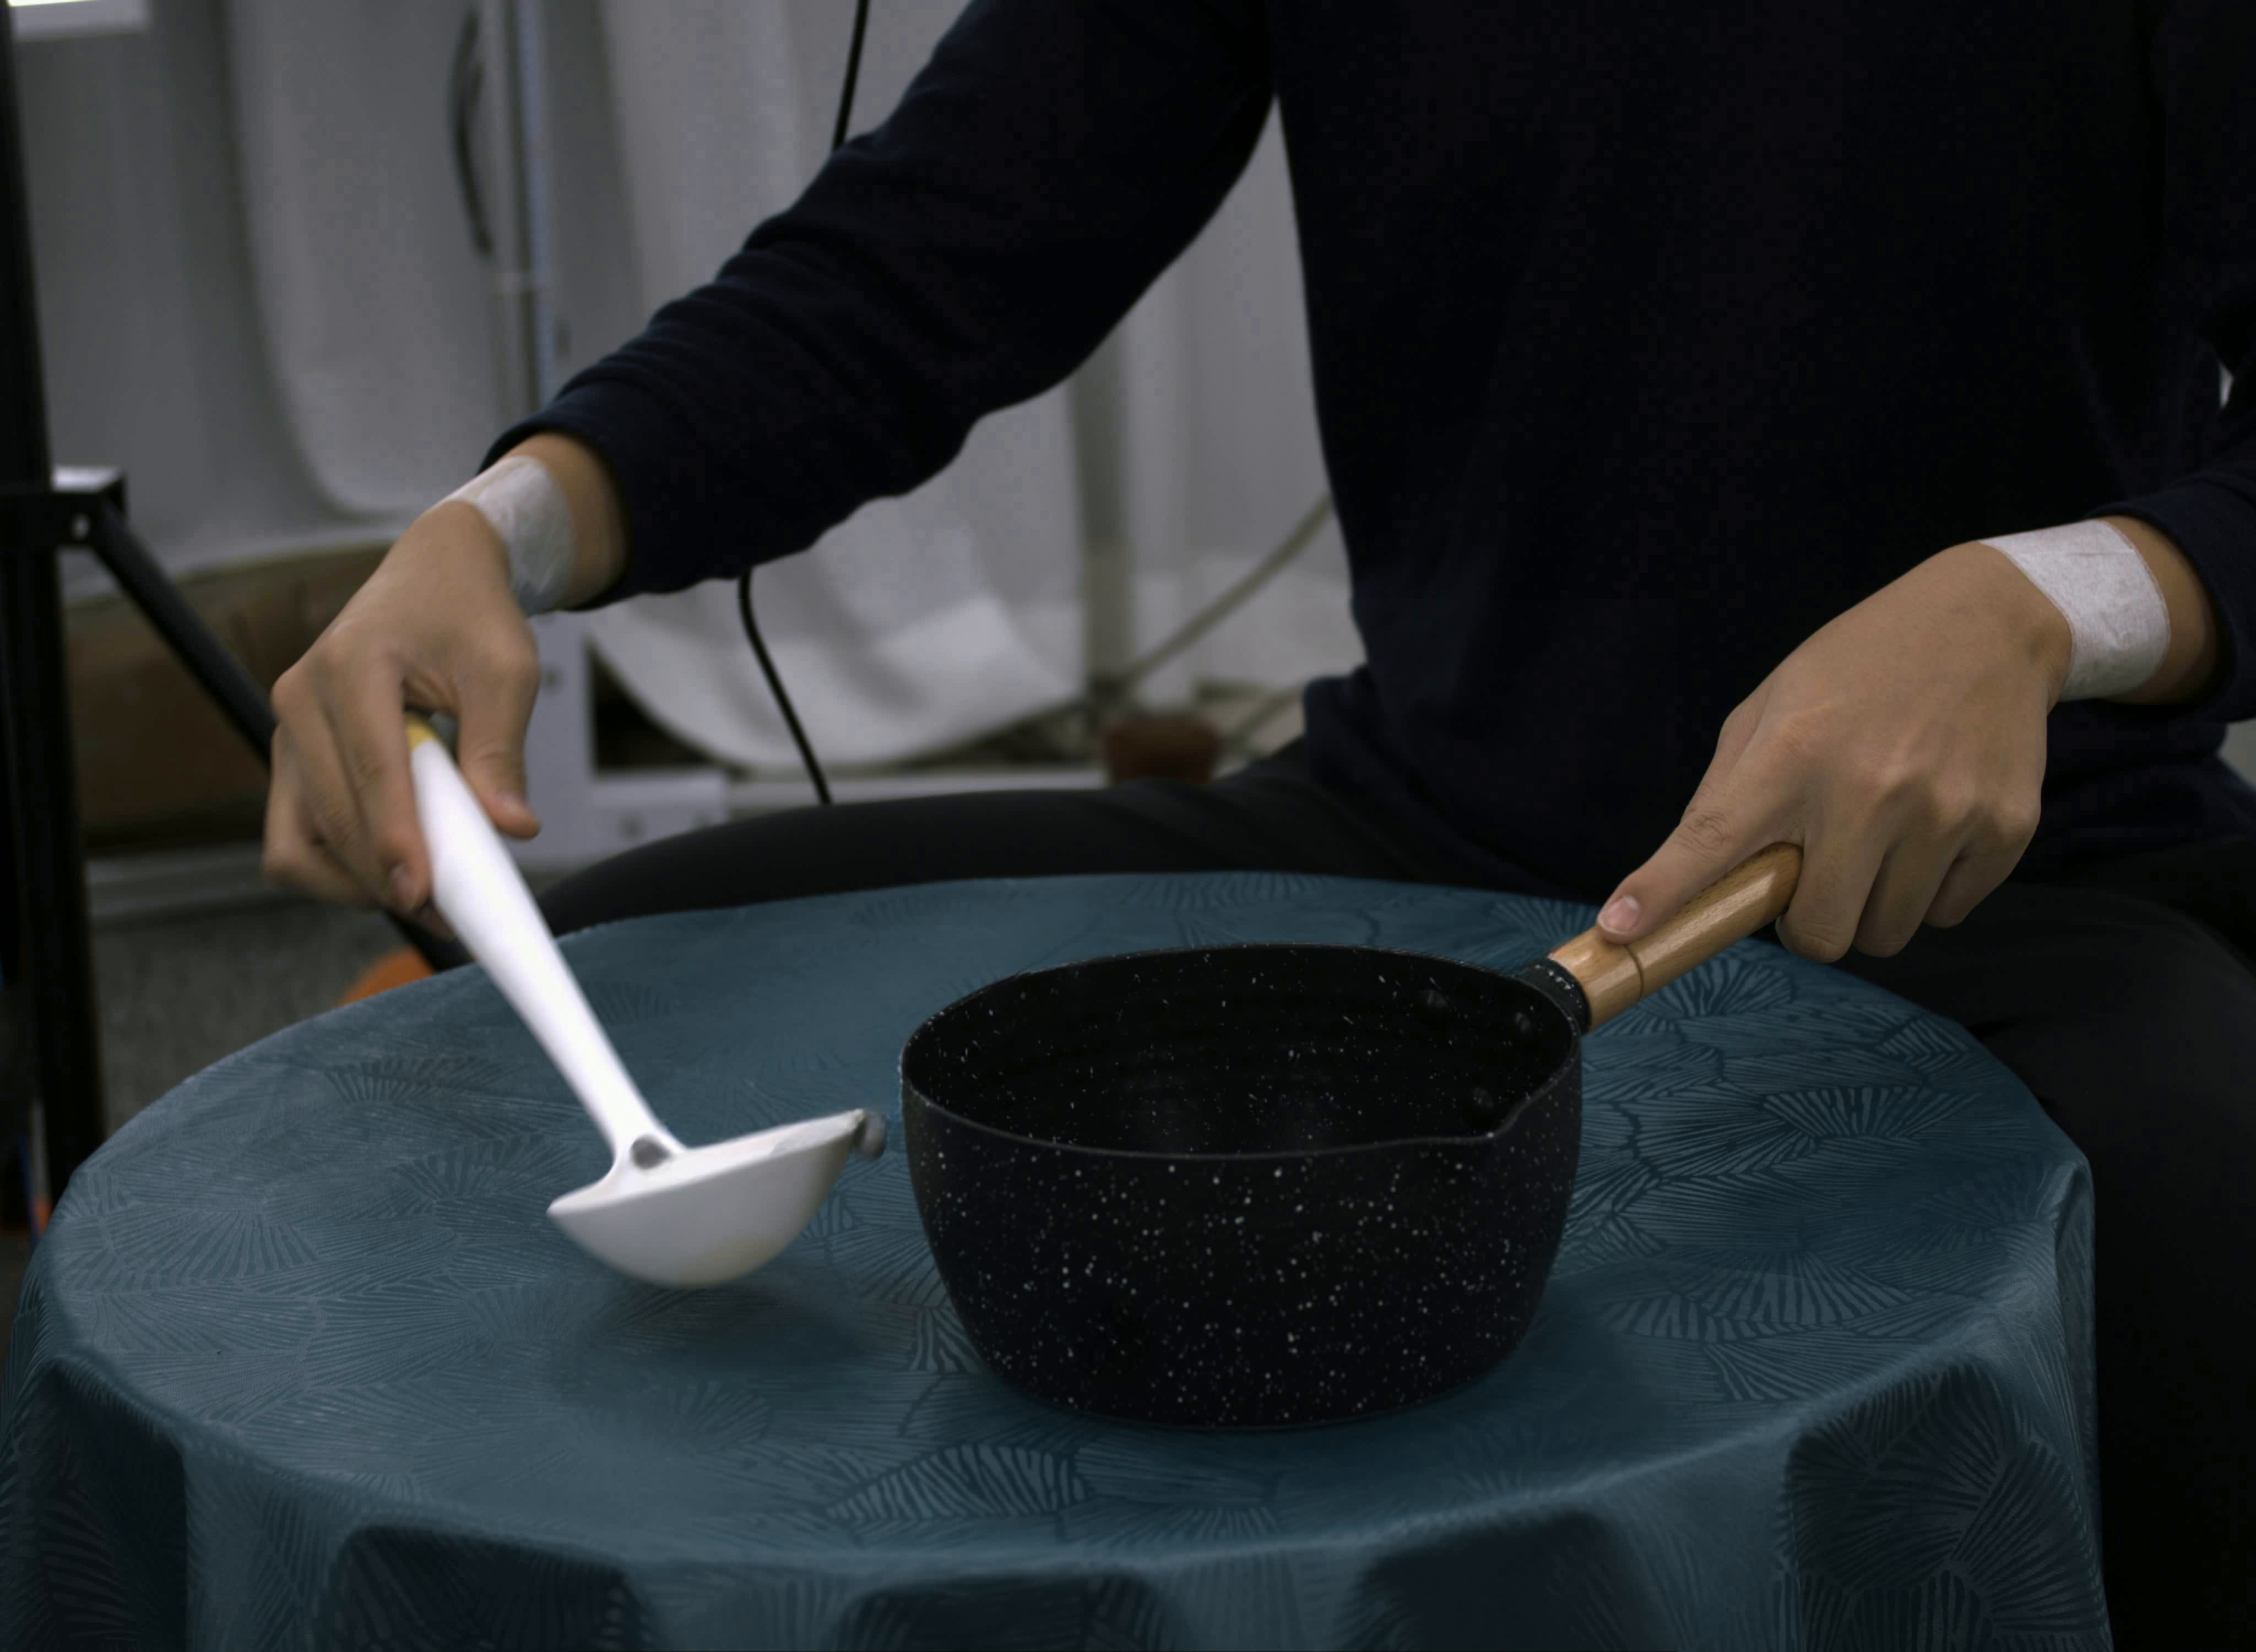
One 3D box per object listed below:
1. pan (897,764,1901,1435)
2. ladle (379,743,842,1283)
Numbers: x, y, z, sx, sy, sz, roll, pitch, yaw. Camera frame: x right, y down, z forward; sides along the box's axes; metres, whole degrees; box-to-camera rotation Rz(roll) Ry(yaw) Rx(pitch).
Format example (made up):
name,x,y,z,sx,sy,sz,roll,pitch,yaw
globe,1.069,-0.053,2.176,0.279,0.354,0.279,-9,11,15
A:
name,x,y,z,sx,sy,sz,roll,pitch,yaw
pan,0.091,0.071,1.476,0.335,0.108,0.212,-17,20,-37
ladle,-0.165,0.043,1.560,0.089,0.069,0.299,-19,36,-15
